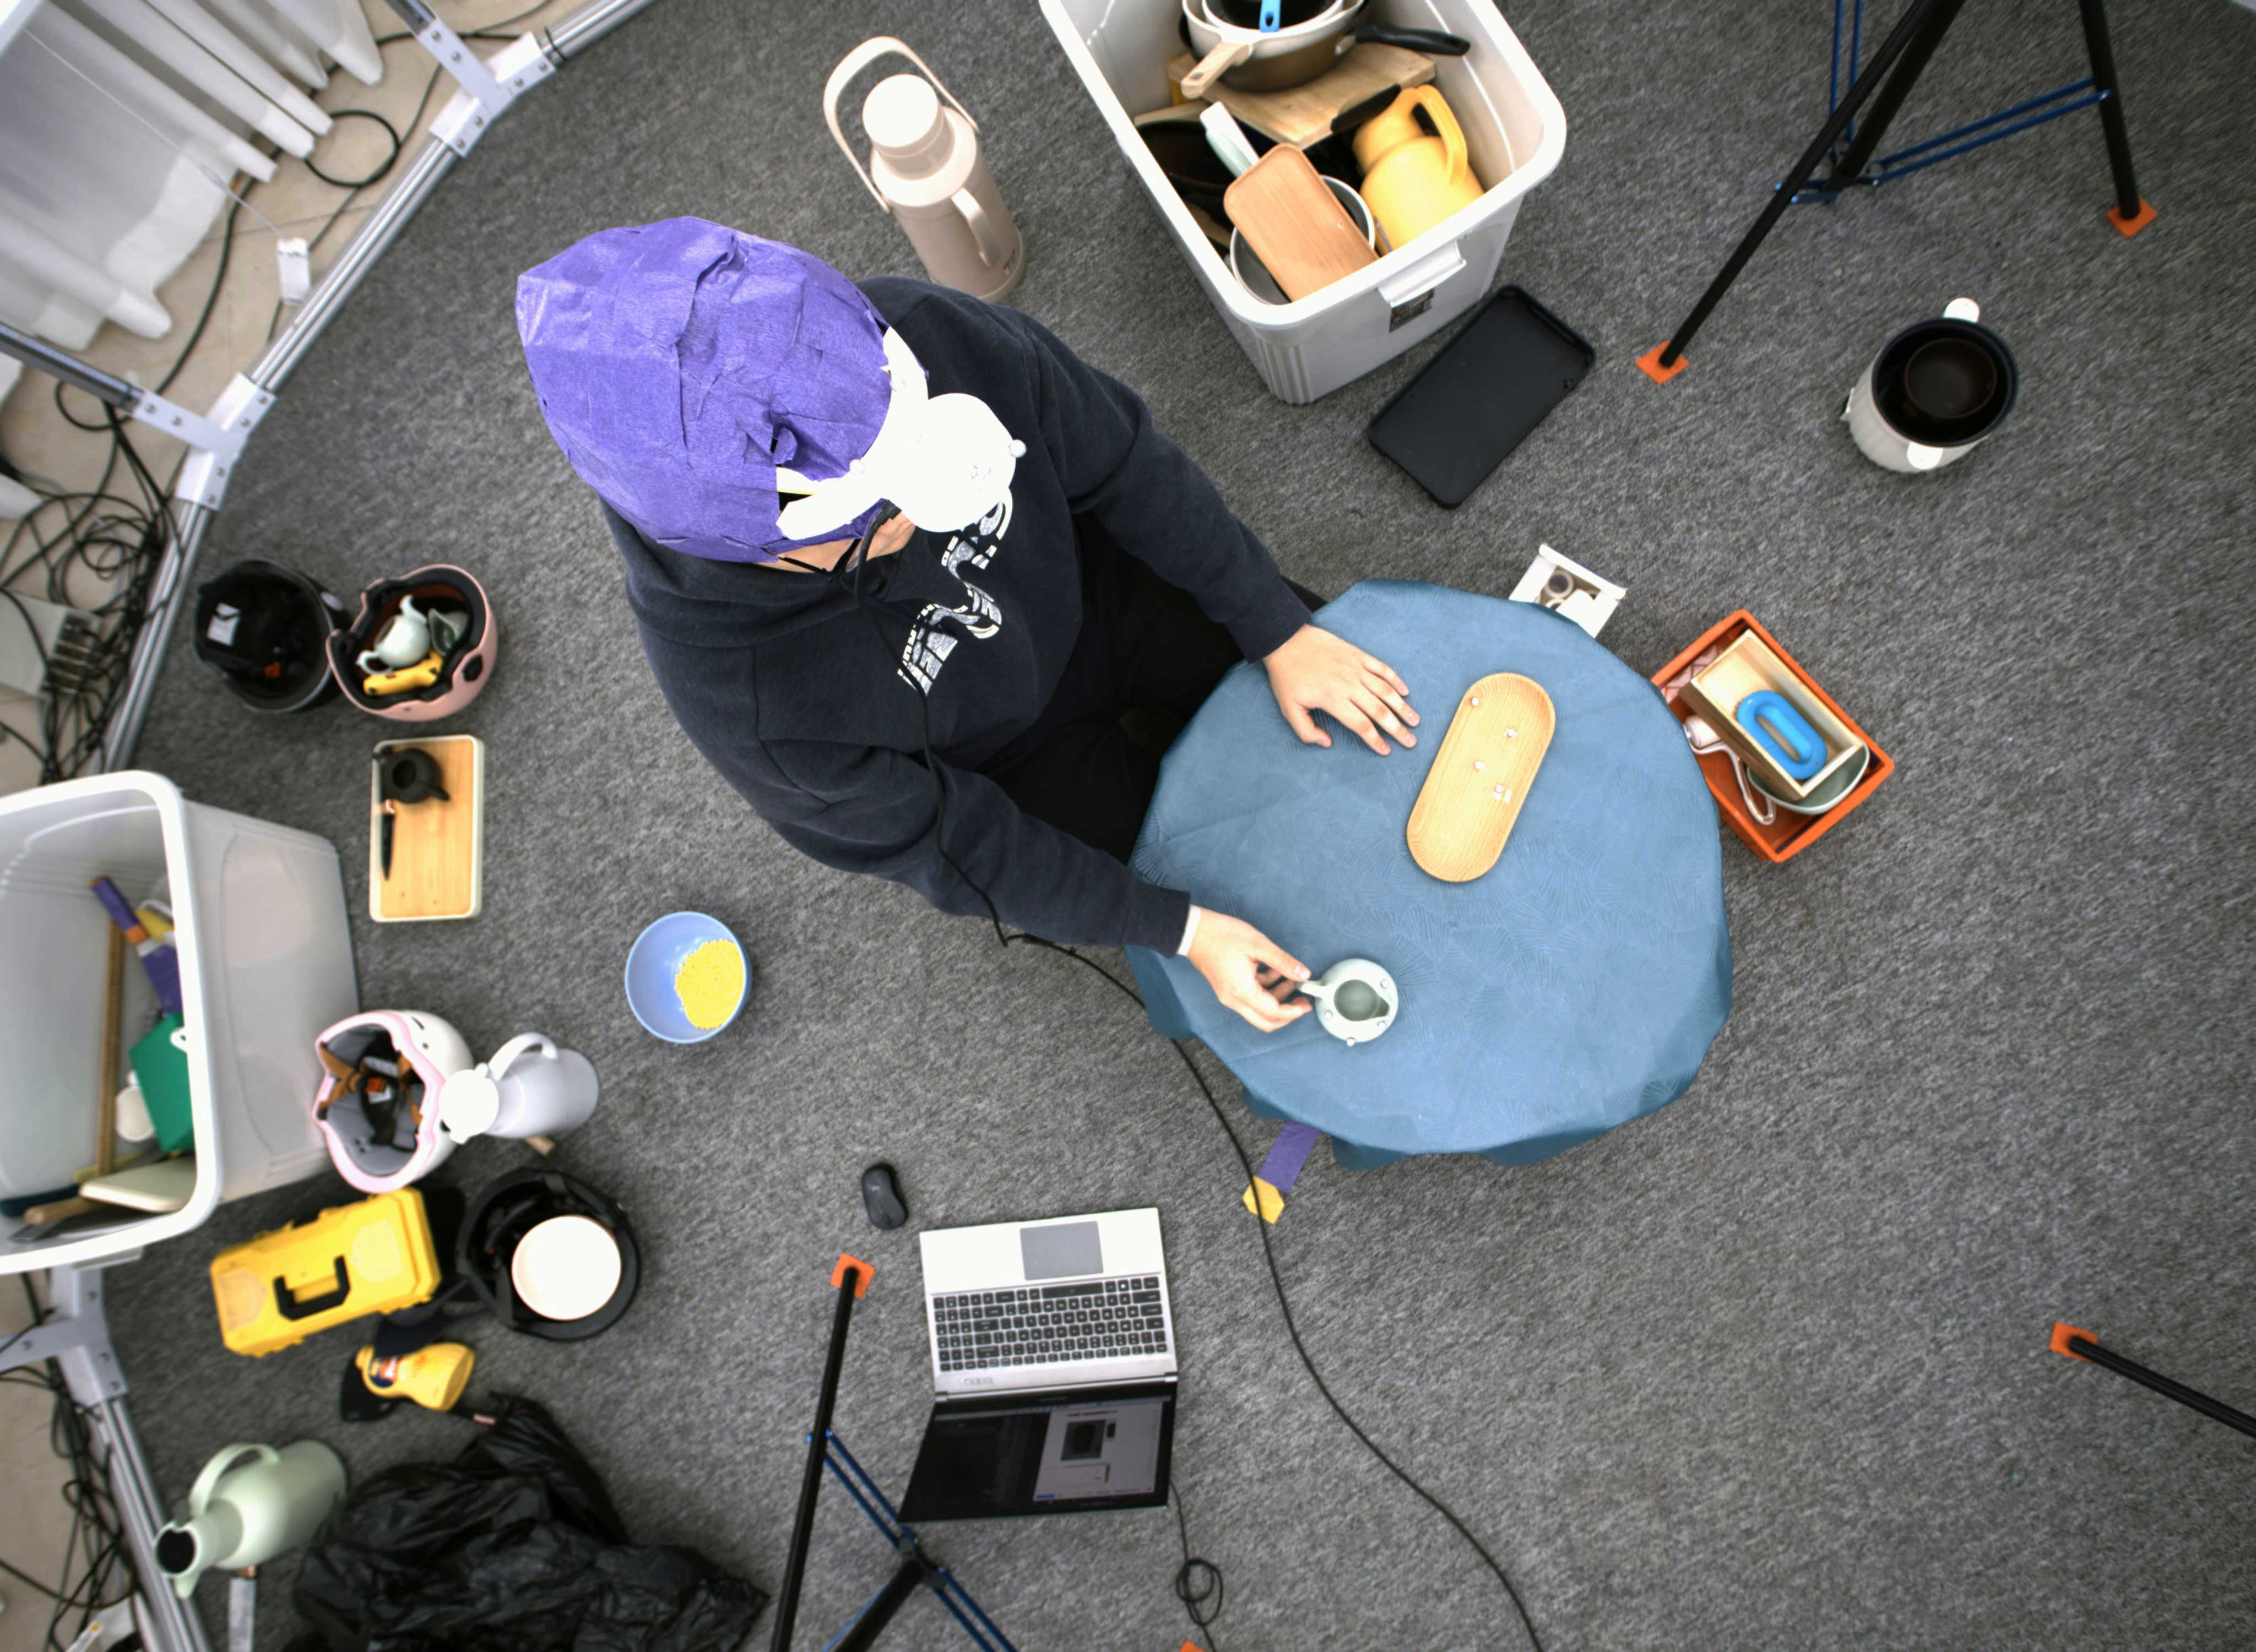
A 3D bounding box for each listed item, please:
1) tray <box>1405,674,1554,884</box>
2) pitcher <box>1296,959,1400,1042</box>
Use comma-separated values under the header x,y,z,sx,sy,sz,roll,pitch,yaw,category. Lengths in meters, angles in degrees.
x,y,z,sx,sy,sz,roll,pitch,yaw,category
0.369,-0.051,1.441,0.101,0.020,0.231,24,93,13,tray
0.227,0.177,1.435,0.108,0.060,0.086,13,87,13,pitcher
